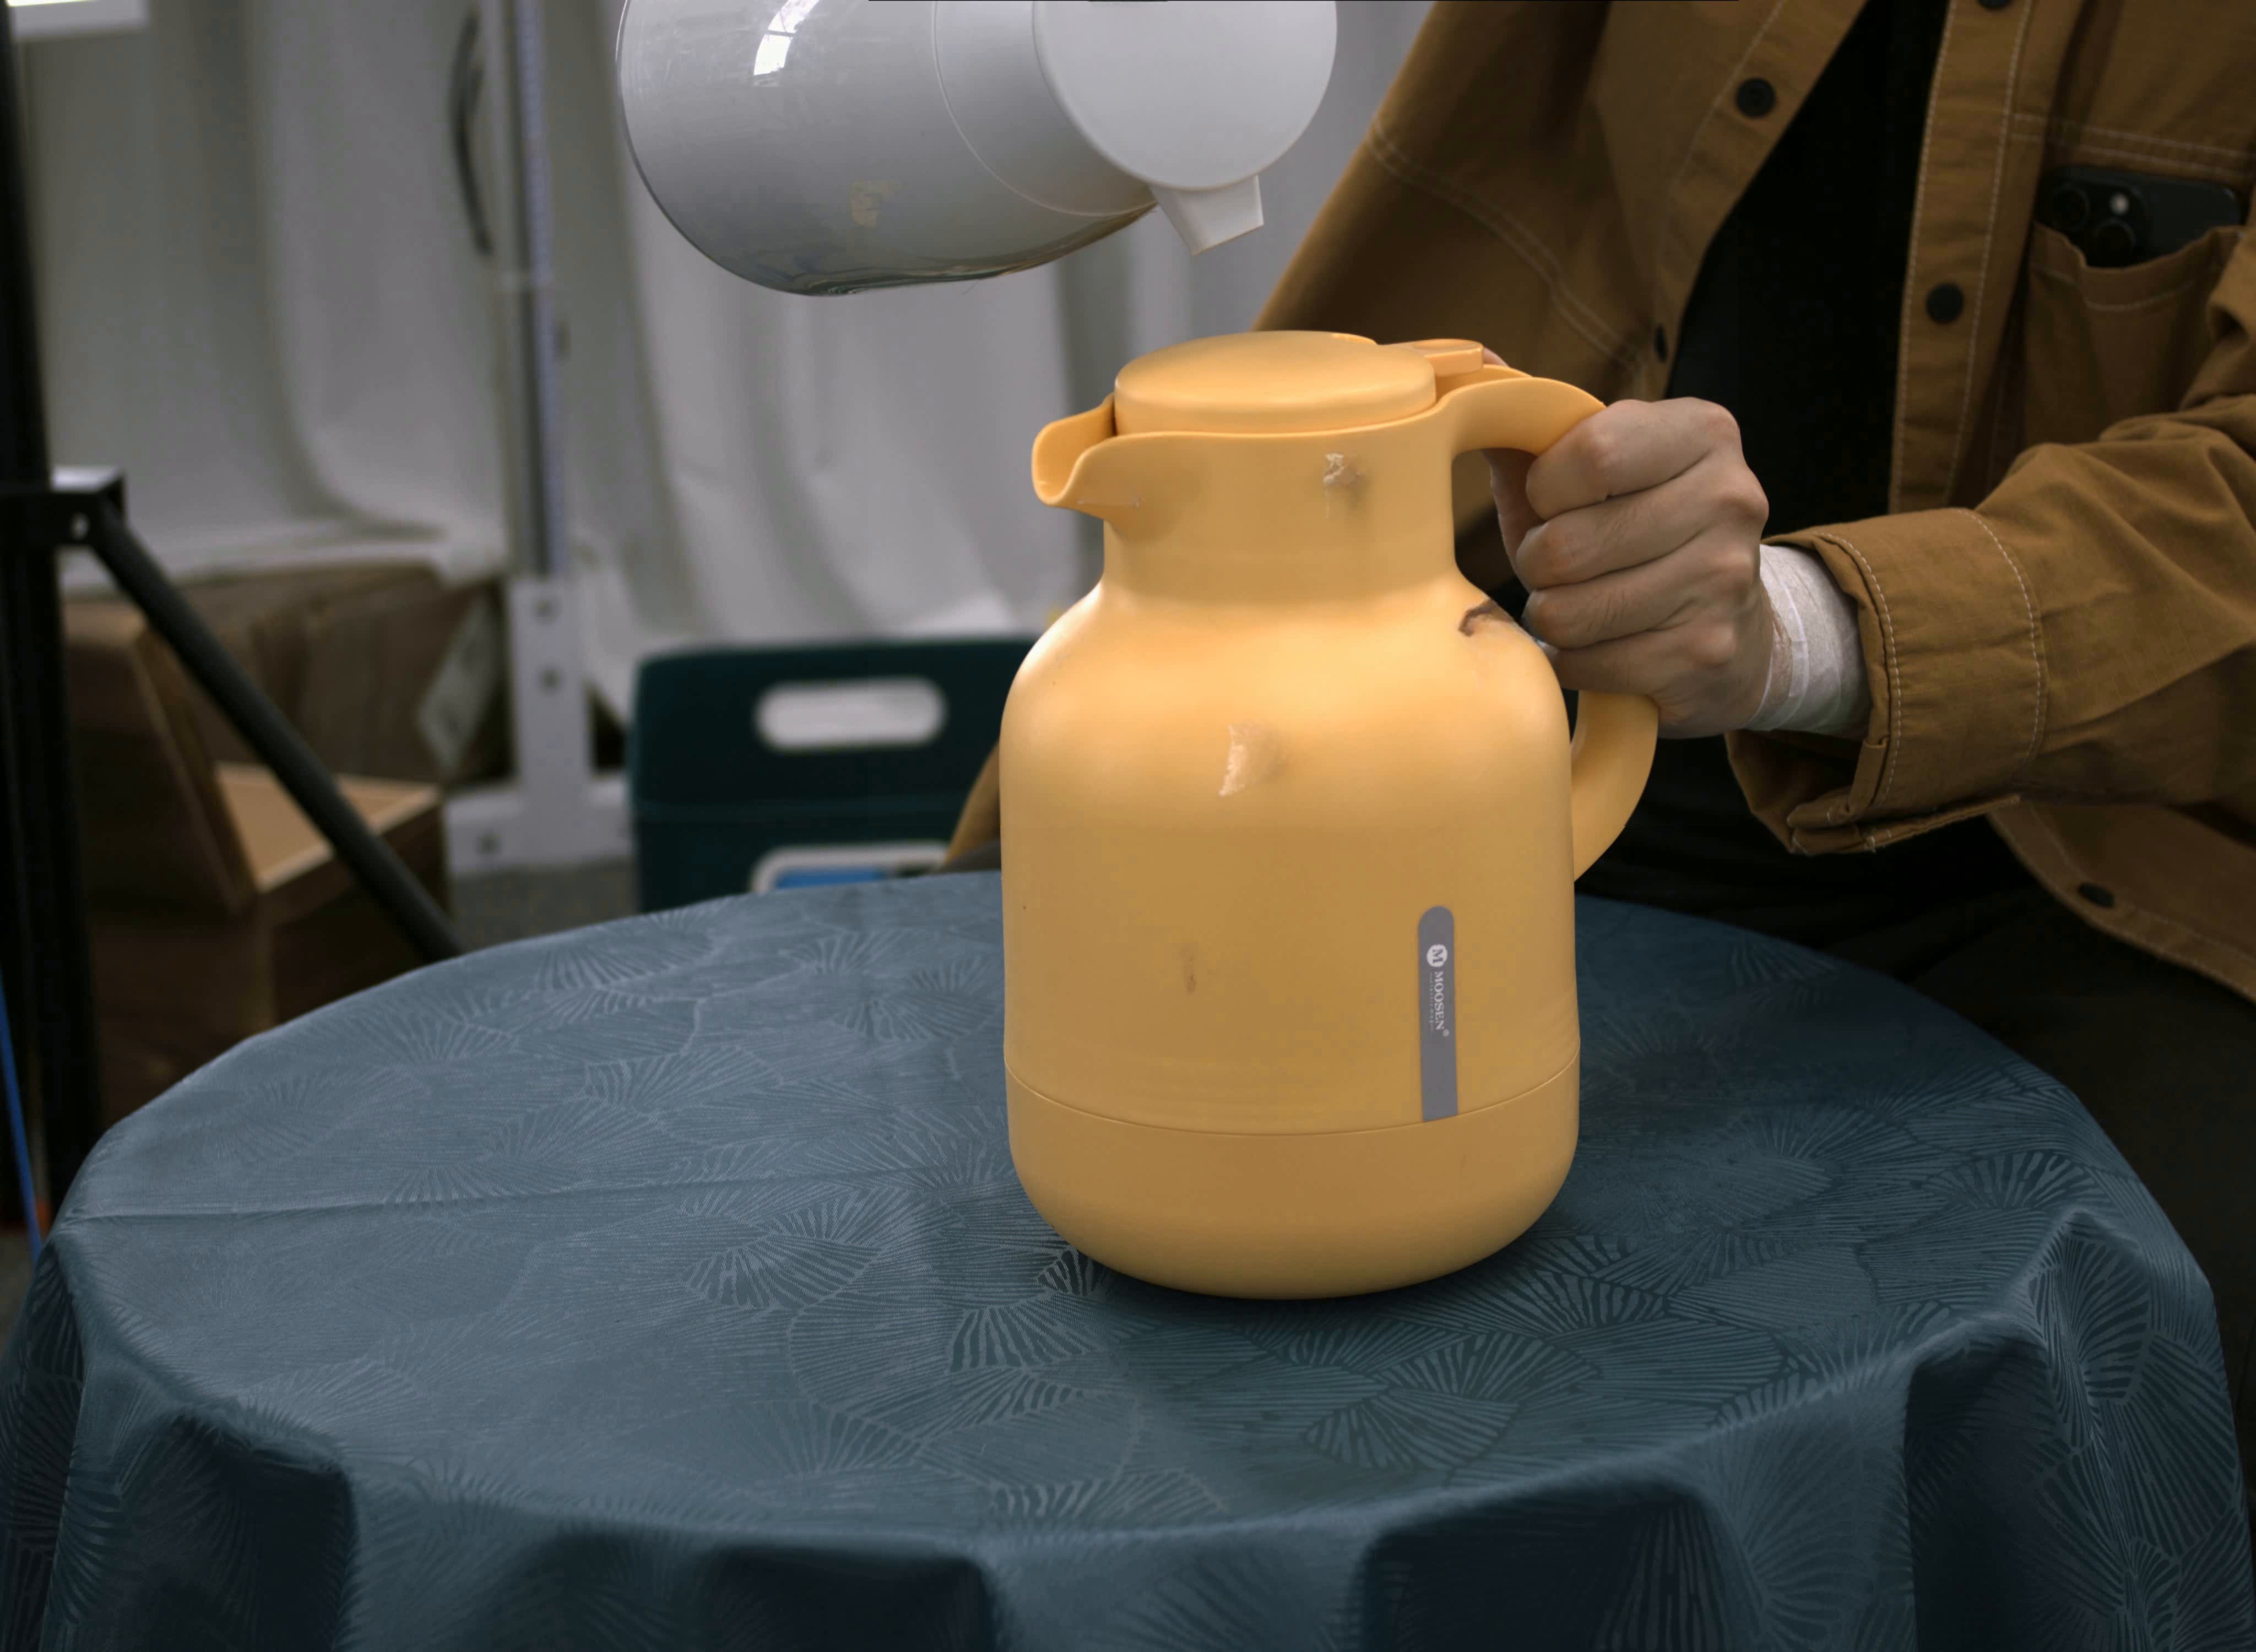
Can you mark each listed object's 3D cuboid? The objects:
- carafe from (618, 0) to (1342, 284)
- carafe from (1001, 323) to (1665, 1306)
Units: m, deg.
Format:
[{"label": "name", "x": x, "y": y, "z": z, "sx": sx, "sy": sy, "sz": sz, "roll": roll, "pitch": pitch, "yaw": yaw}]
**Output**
[{"label": "carafe", "x": -0.044, "y": -0.239, "z": 1.517, "sx": 0.130, "sy": 0.167, "sz": 0.253, "roll": -26, "pitch": 15, "yaw": -23}, {"label": "carafe", "x": 0.063, "y": -0.010, "z": 1.487, "sx": 0.198, "sy": 0.260, "sz": 0.167, "roll": -11, "pitch": 19, "yaw": -25}]
